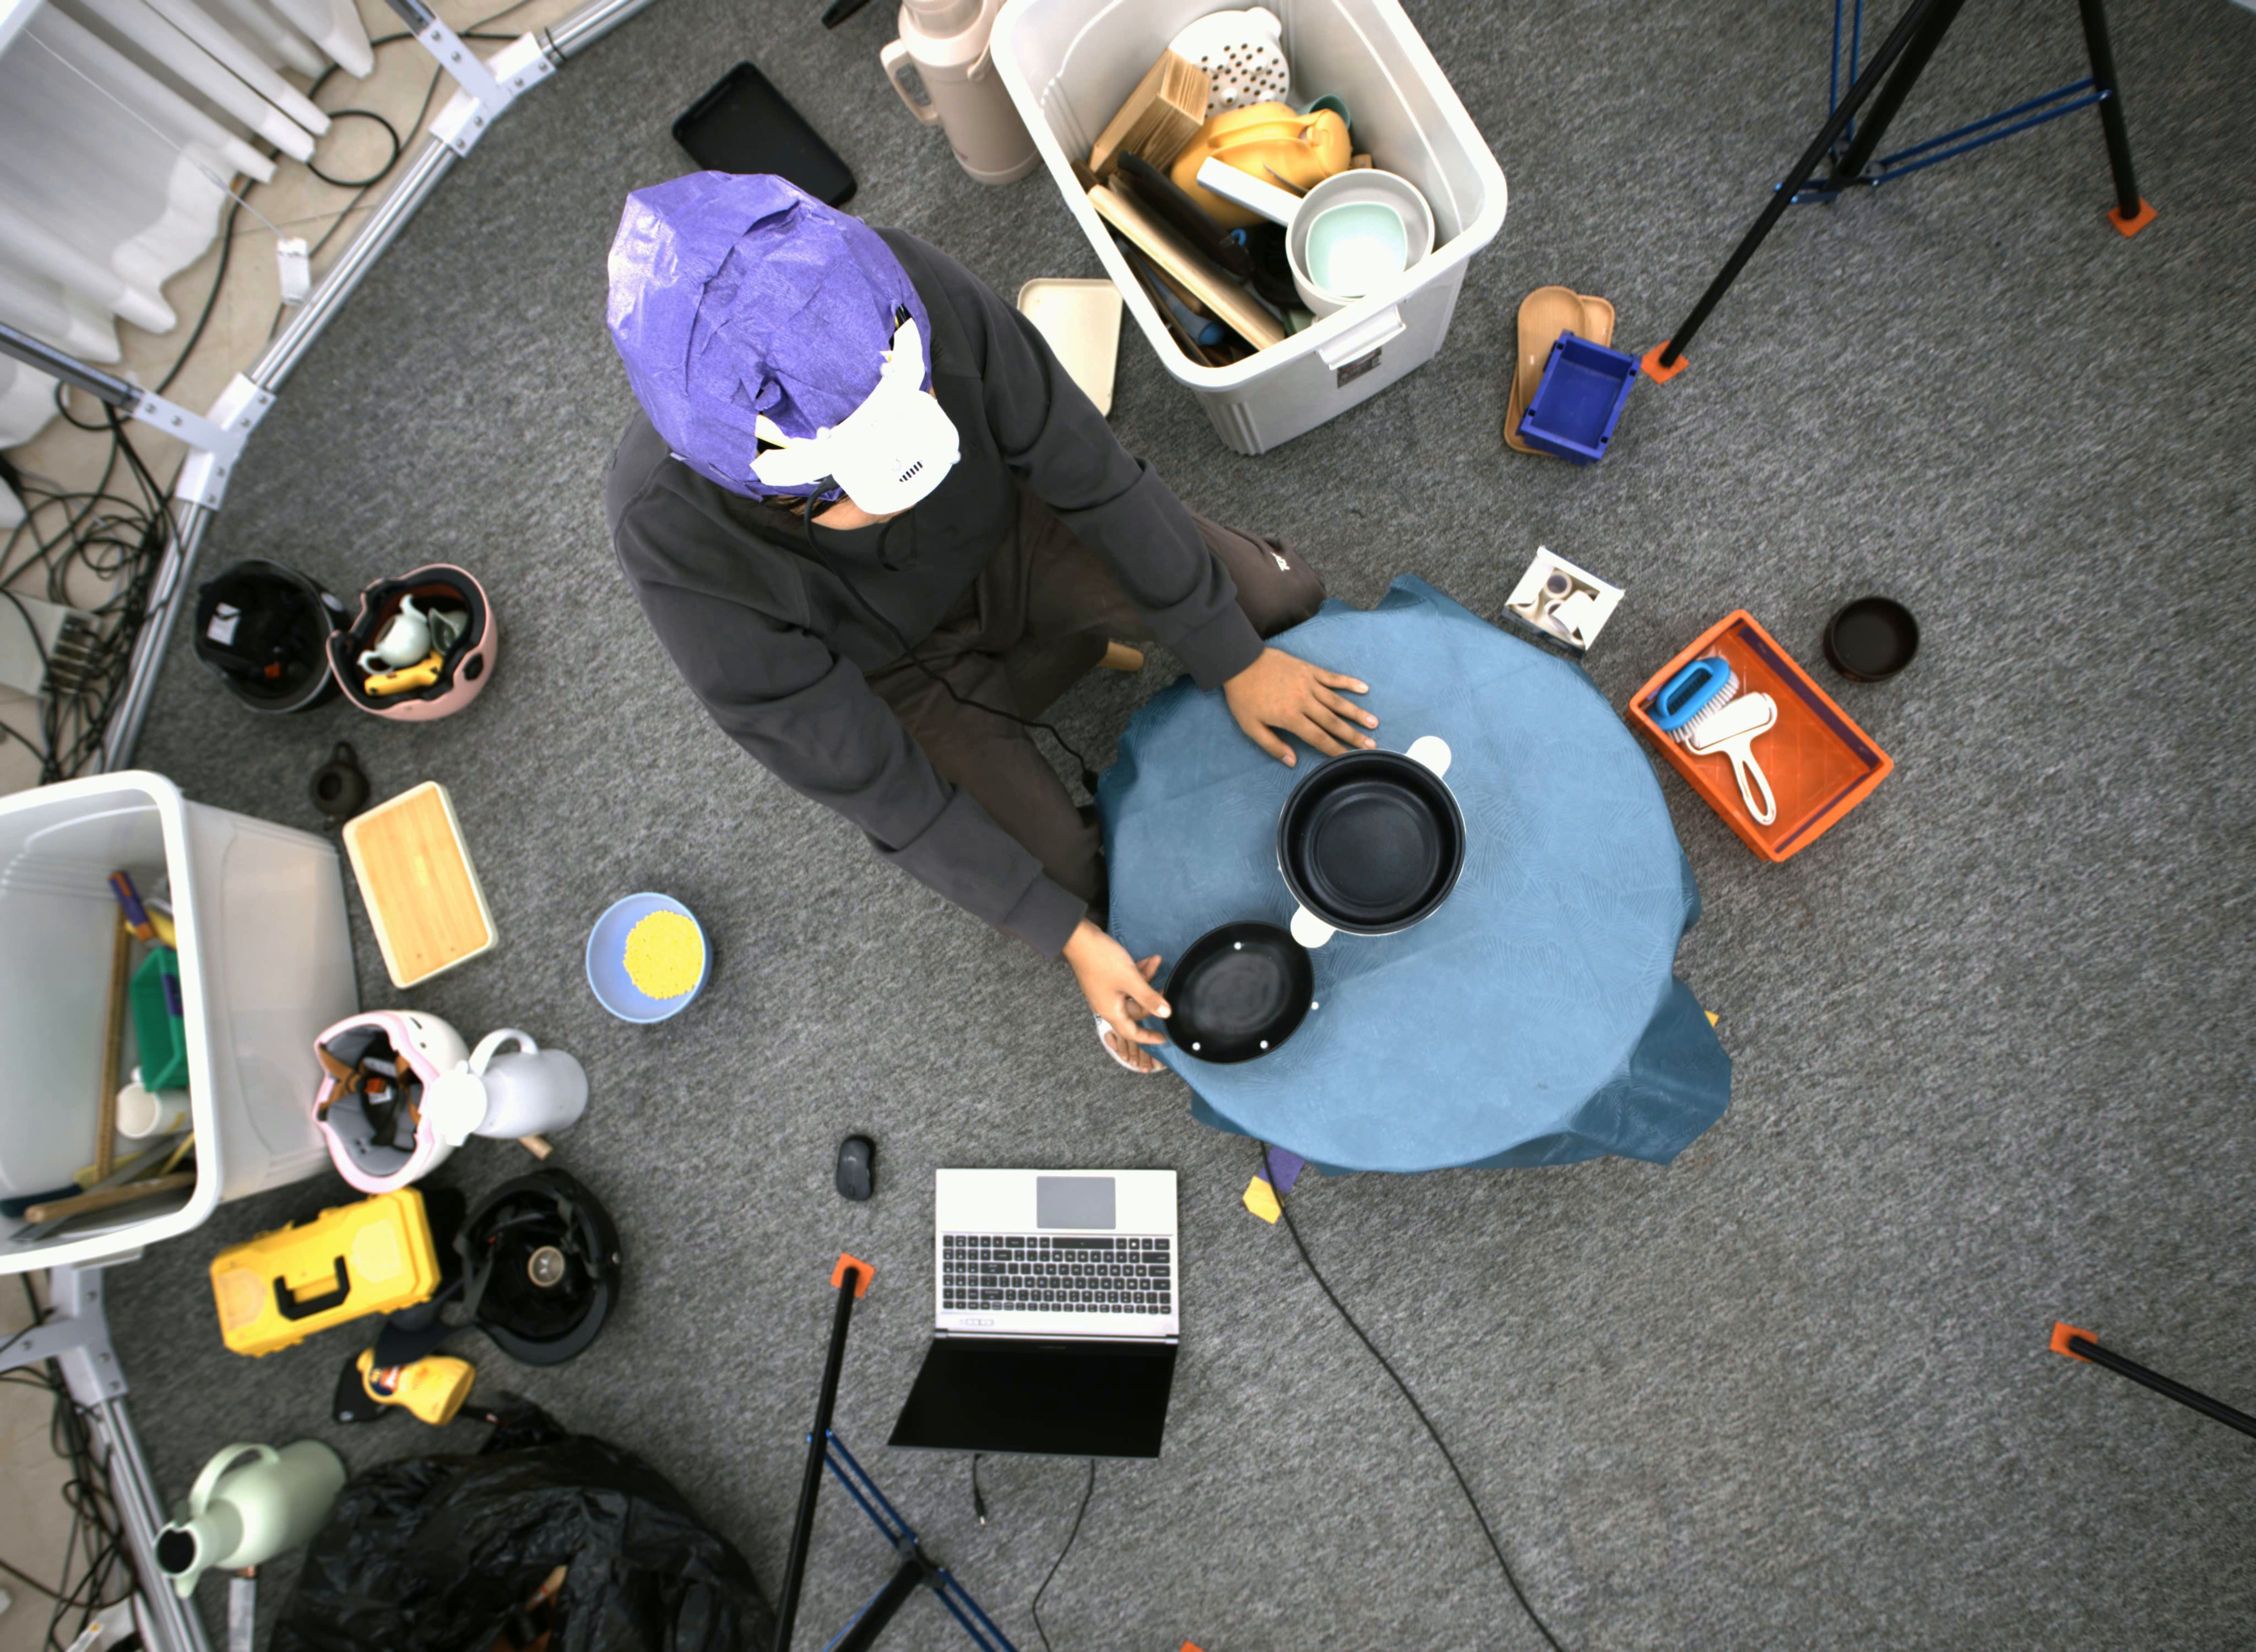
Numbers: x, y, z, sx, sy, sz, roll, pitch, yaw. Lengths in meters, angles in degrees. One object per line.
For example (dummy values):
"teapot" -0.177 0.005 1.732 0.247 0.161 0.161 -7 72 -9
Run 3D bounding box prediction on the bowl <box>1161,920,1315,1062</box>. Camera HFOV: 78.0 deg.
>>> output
"bowl" 0.118 0.174 1.452 0.171 0.066 0.136 -37 80 8

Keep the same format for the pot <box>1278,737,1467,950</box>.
"pot" 0.241 0.020 1.400 0.190 0.143 0.240 34 91 8
